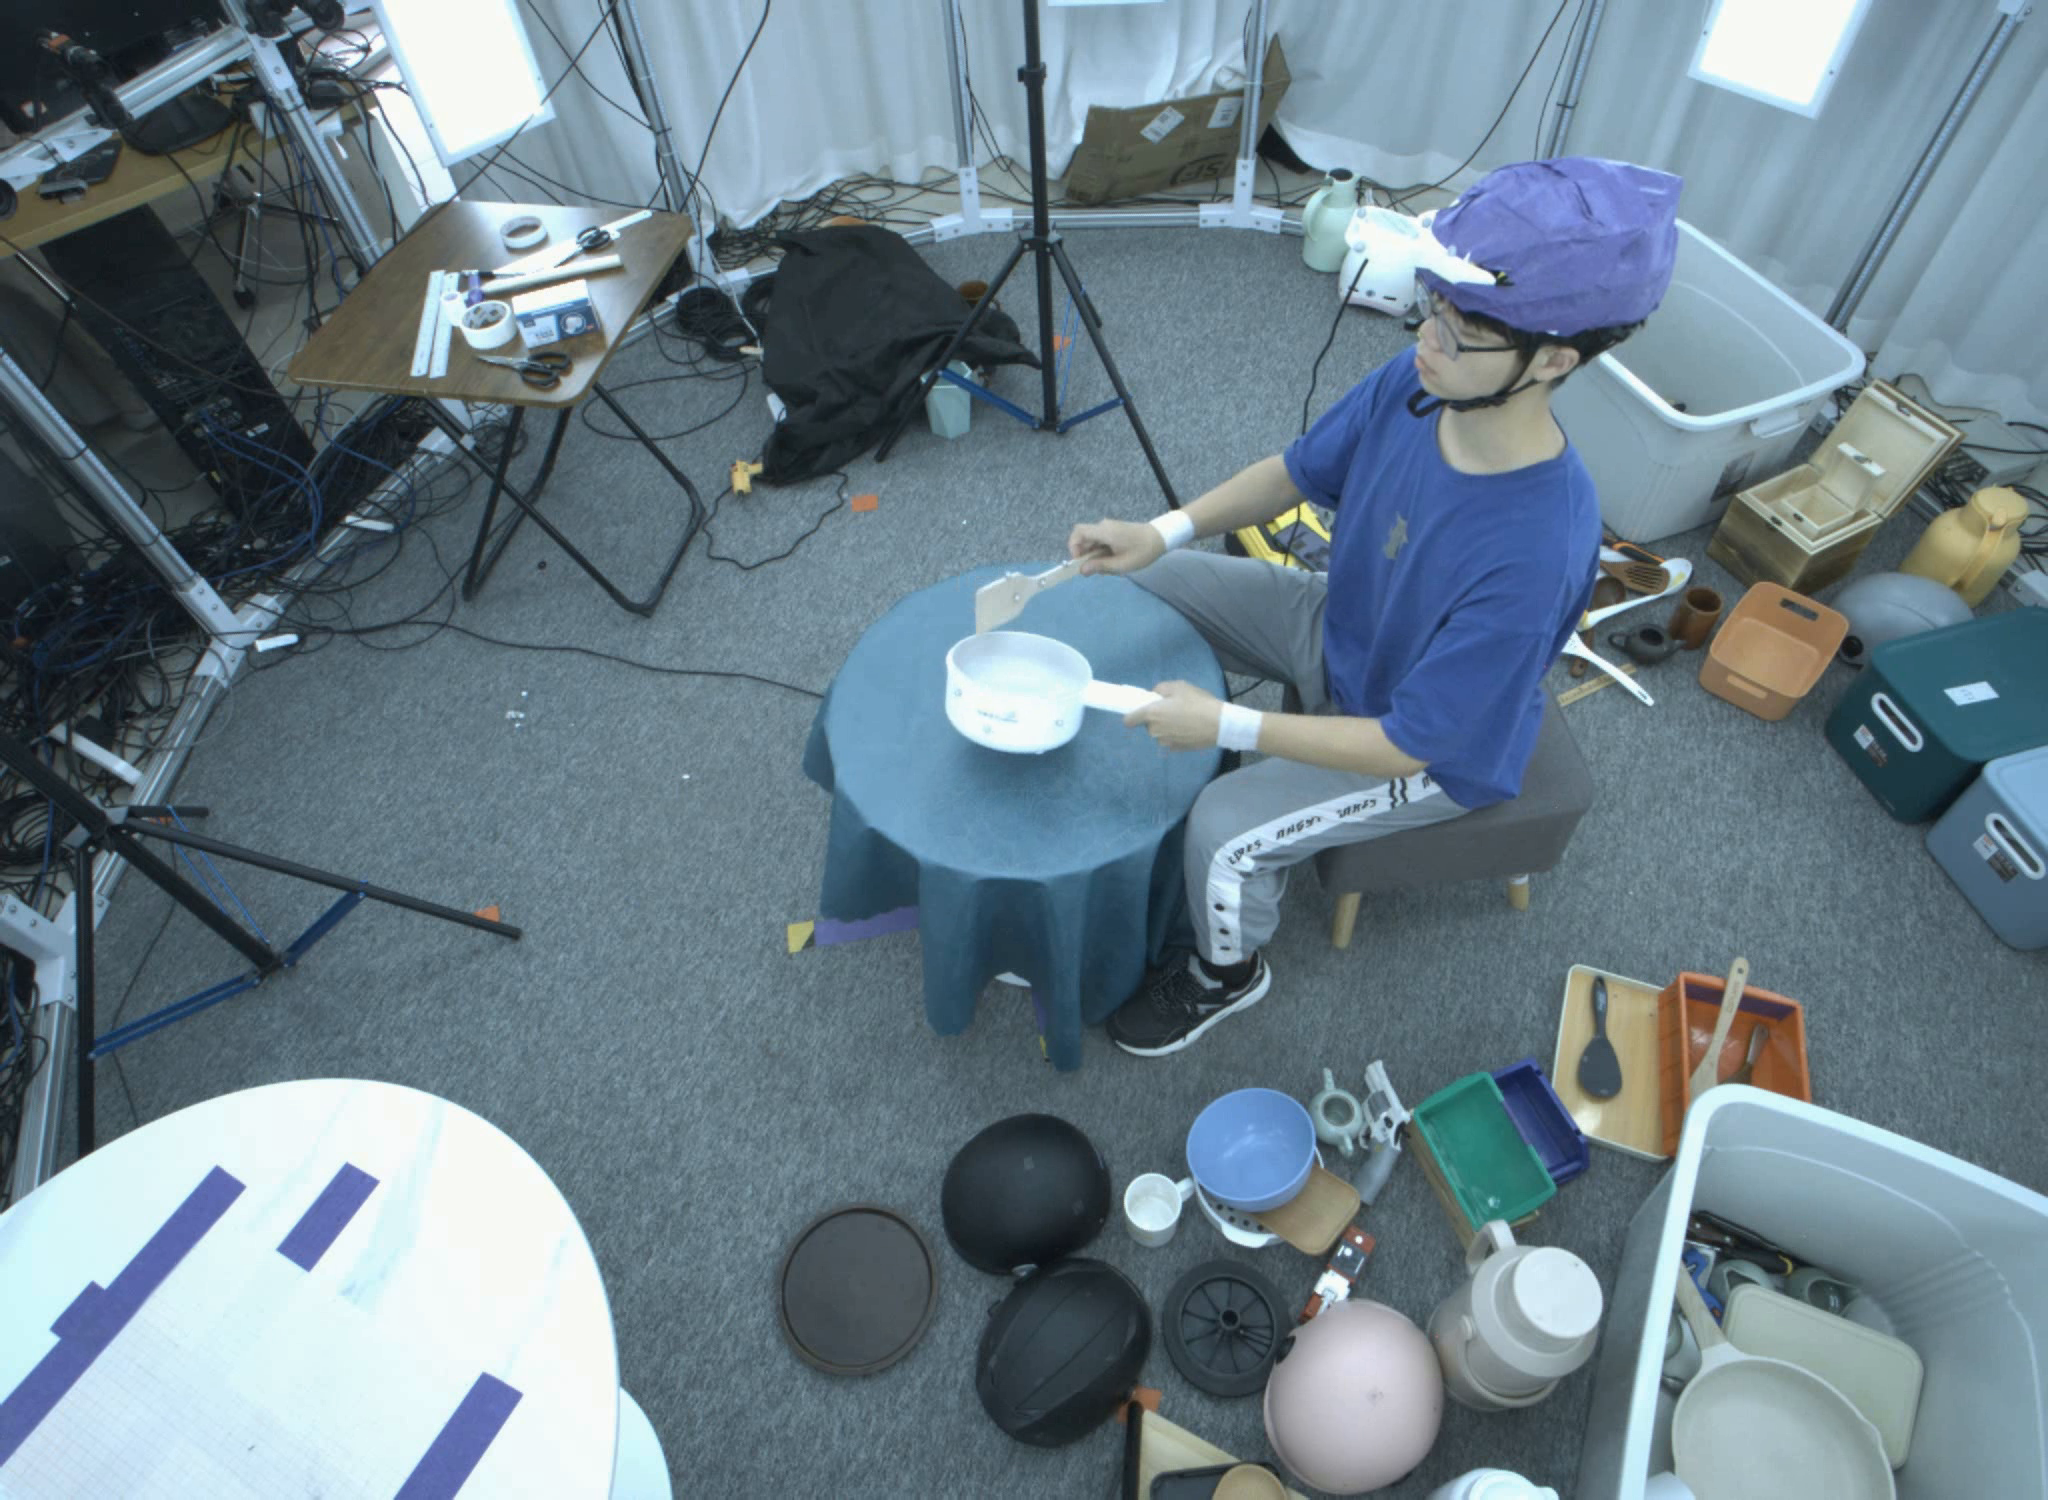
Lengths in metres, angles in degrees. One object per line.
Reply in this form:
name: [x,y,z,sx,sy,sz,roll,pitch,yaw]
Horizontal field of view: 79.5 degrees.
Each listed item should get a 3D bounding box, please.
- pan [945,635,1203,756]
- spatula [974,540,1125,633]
pan: [0.063,-0.056,1.690,0.353,0.102,0.201,13,29,7]
spatula: [0.040,-0.244,1.731,0.297,0.073,0.010,-28,44,-34]
